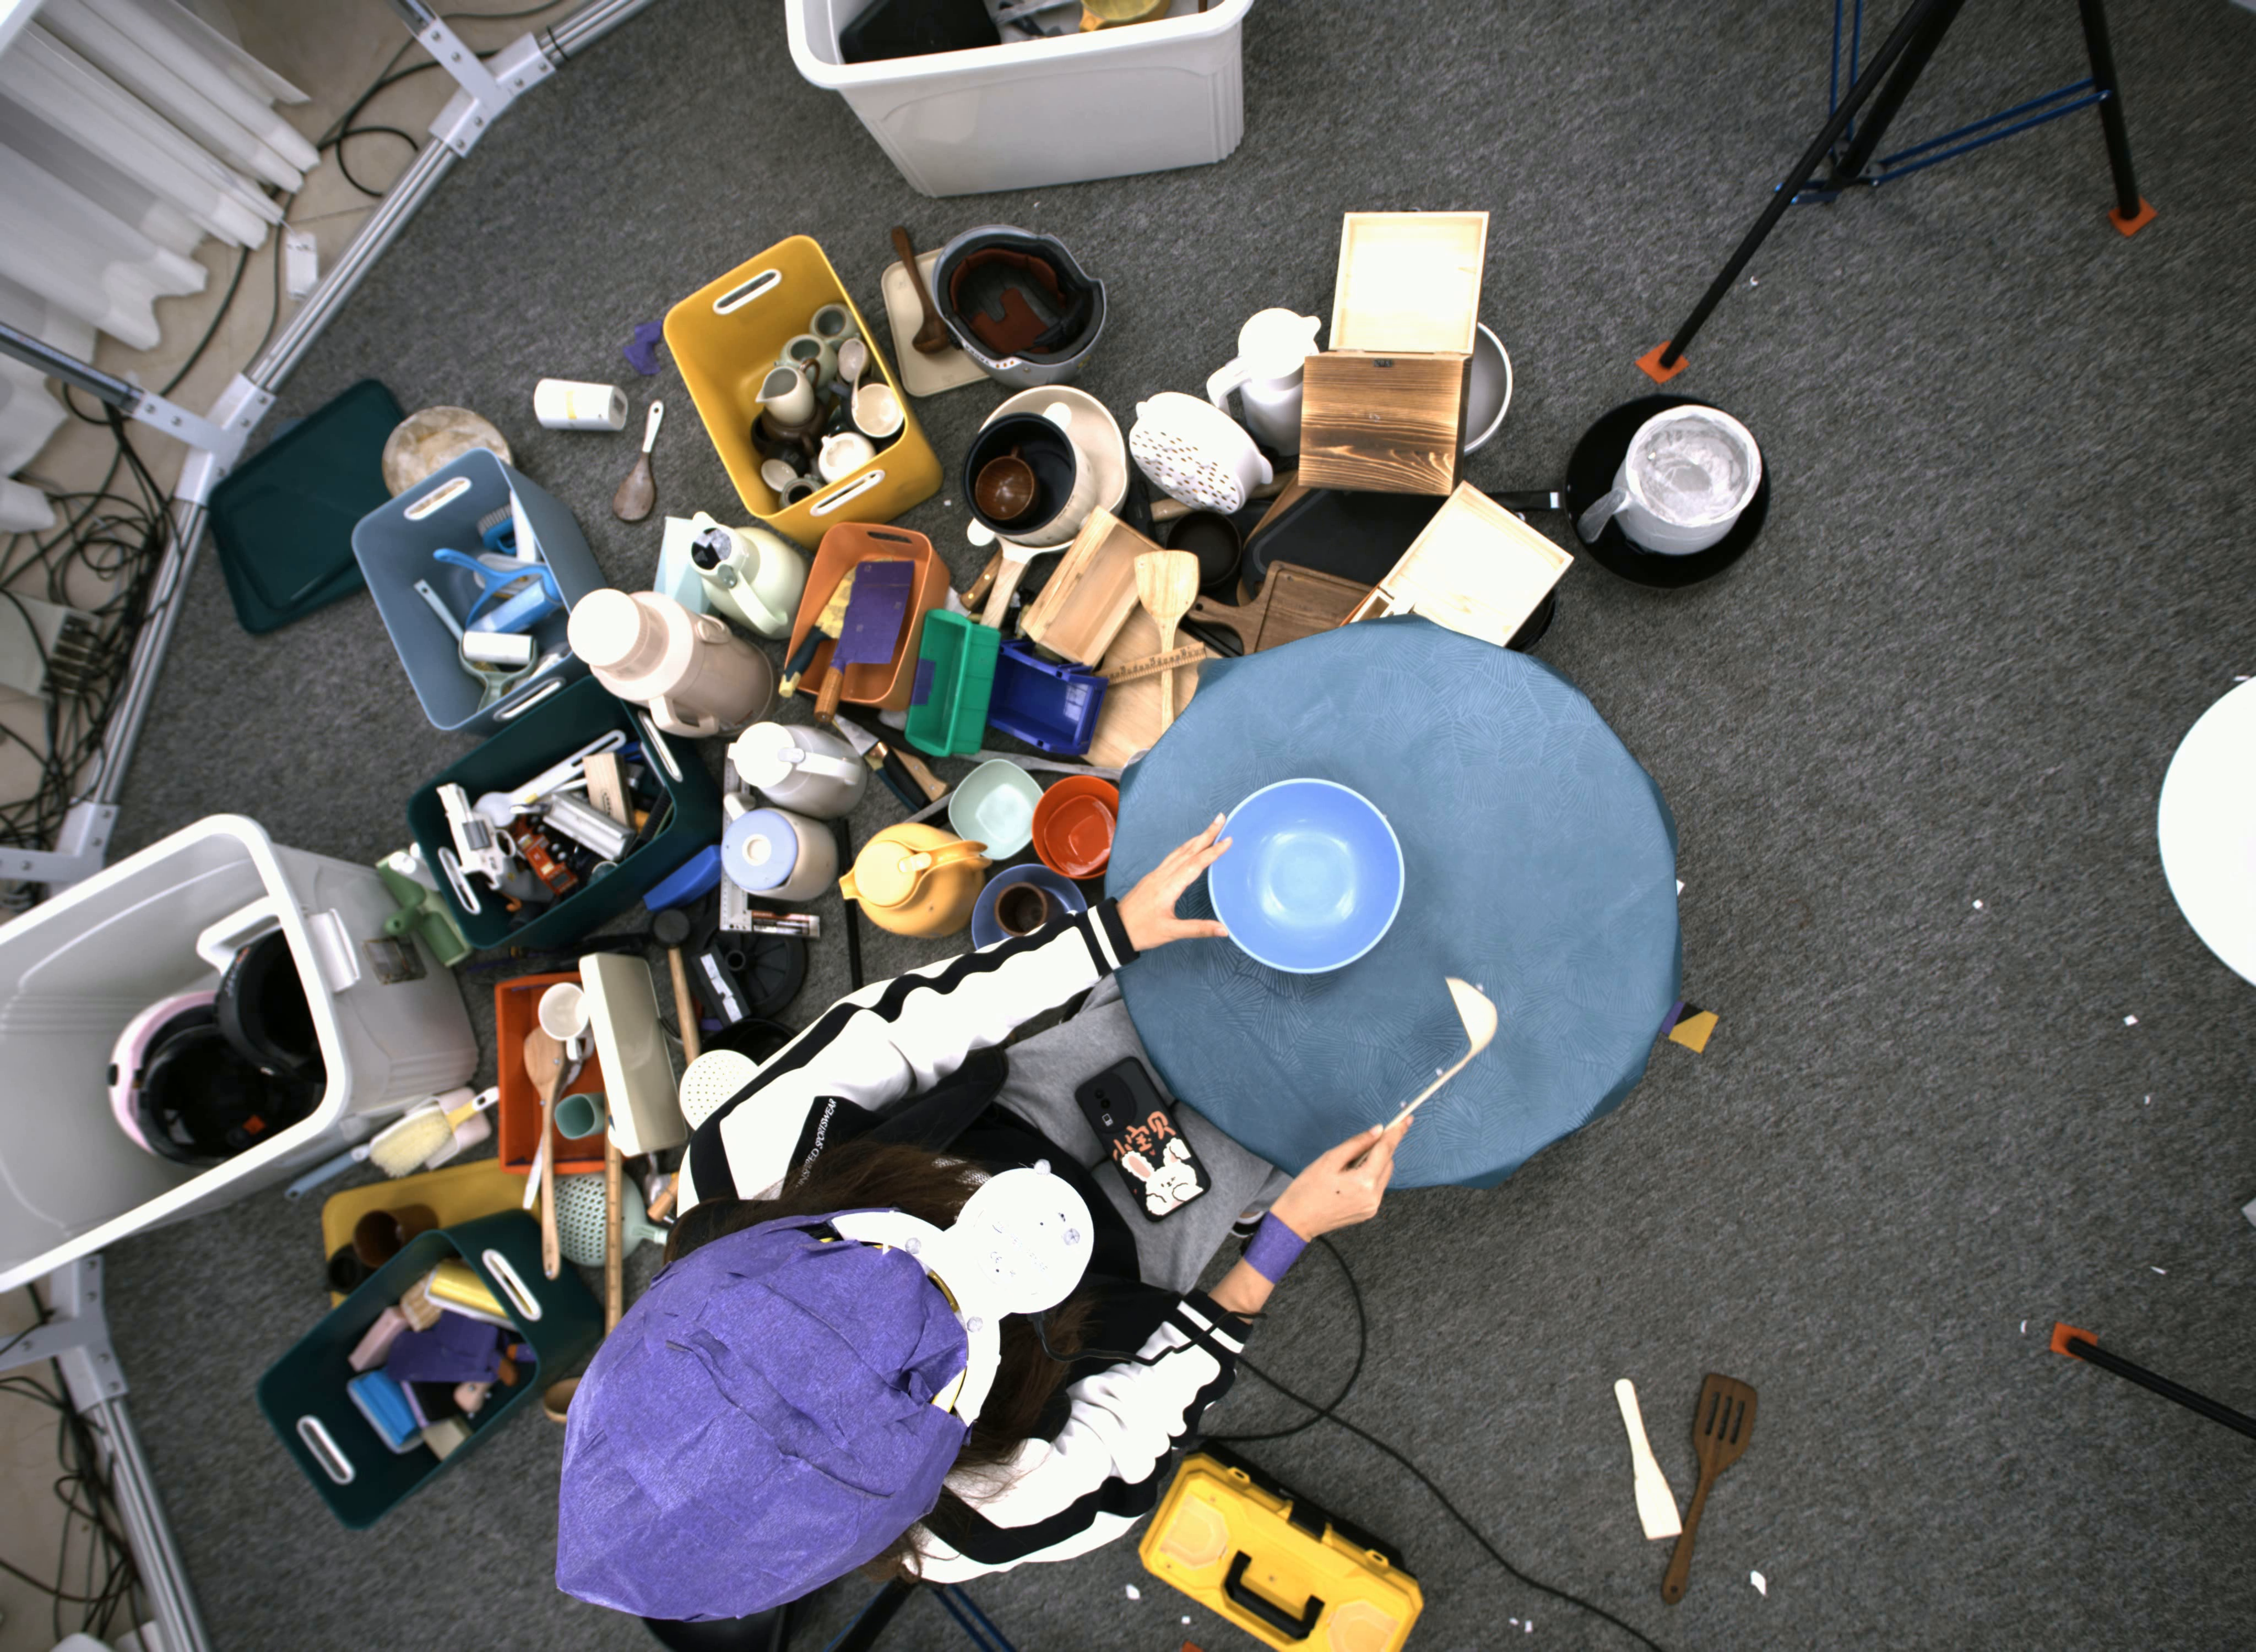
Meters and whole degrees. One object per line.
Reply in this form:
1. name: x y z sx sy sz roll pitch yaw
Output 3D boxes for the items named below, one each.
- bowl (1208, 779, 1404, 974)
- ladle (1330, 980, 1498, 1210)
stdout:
1. bowl: 0.185 0.053 1.432 0.197 0.095 0.196 -1 88 10
2. ladle: 0.260 0.256 1.353 0.072 0.072 0.254 44 89 8
